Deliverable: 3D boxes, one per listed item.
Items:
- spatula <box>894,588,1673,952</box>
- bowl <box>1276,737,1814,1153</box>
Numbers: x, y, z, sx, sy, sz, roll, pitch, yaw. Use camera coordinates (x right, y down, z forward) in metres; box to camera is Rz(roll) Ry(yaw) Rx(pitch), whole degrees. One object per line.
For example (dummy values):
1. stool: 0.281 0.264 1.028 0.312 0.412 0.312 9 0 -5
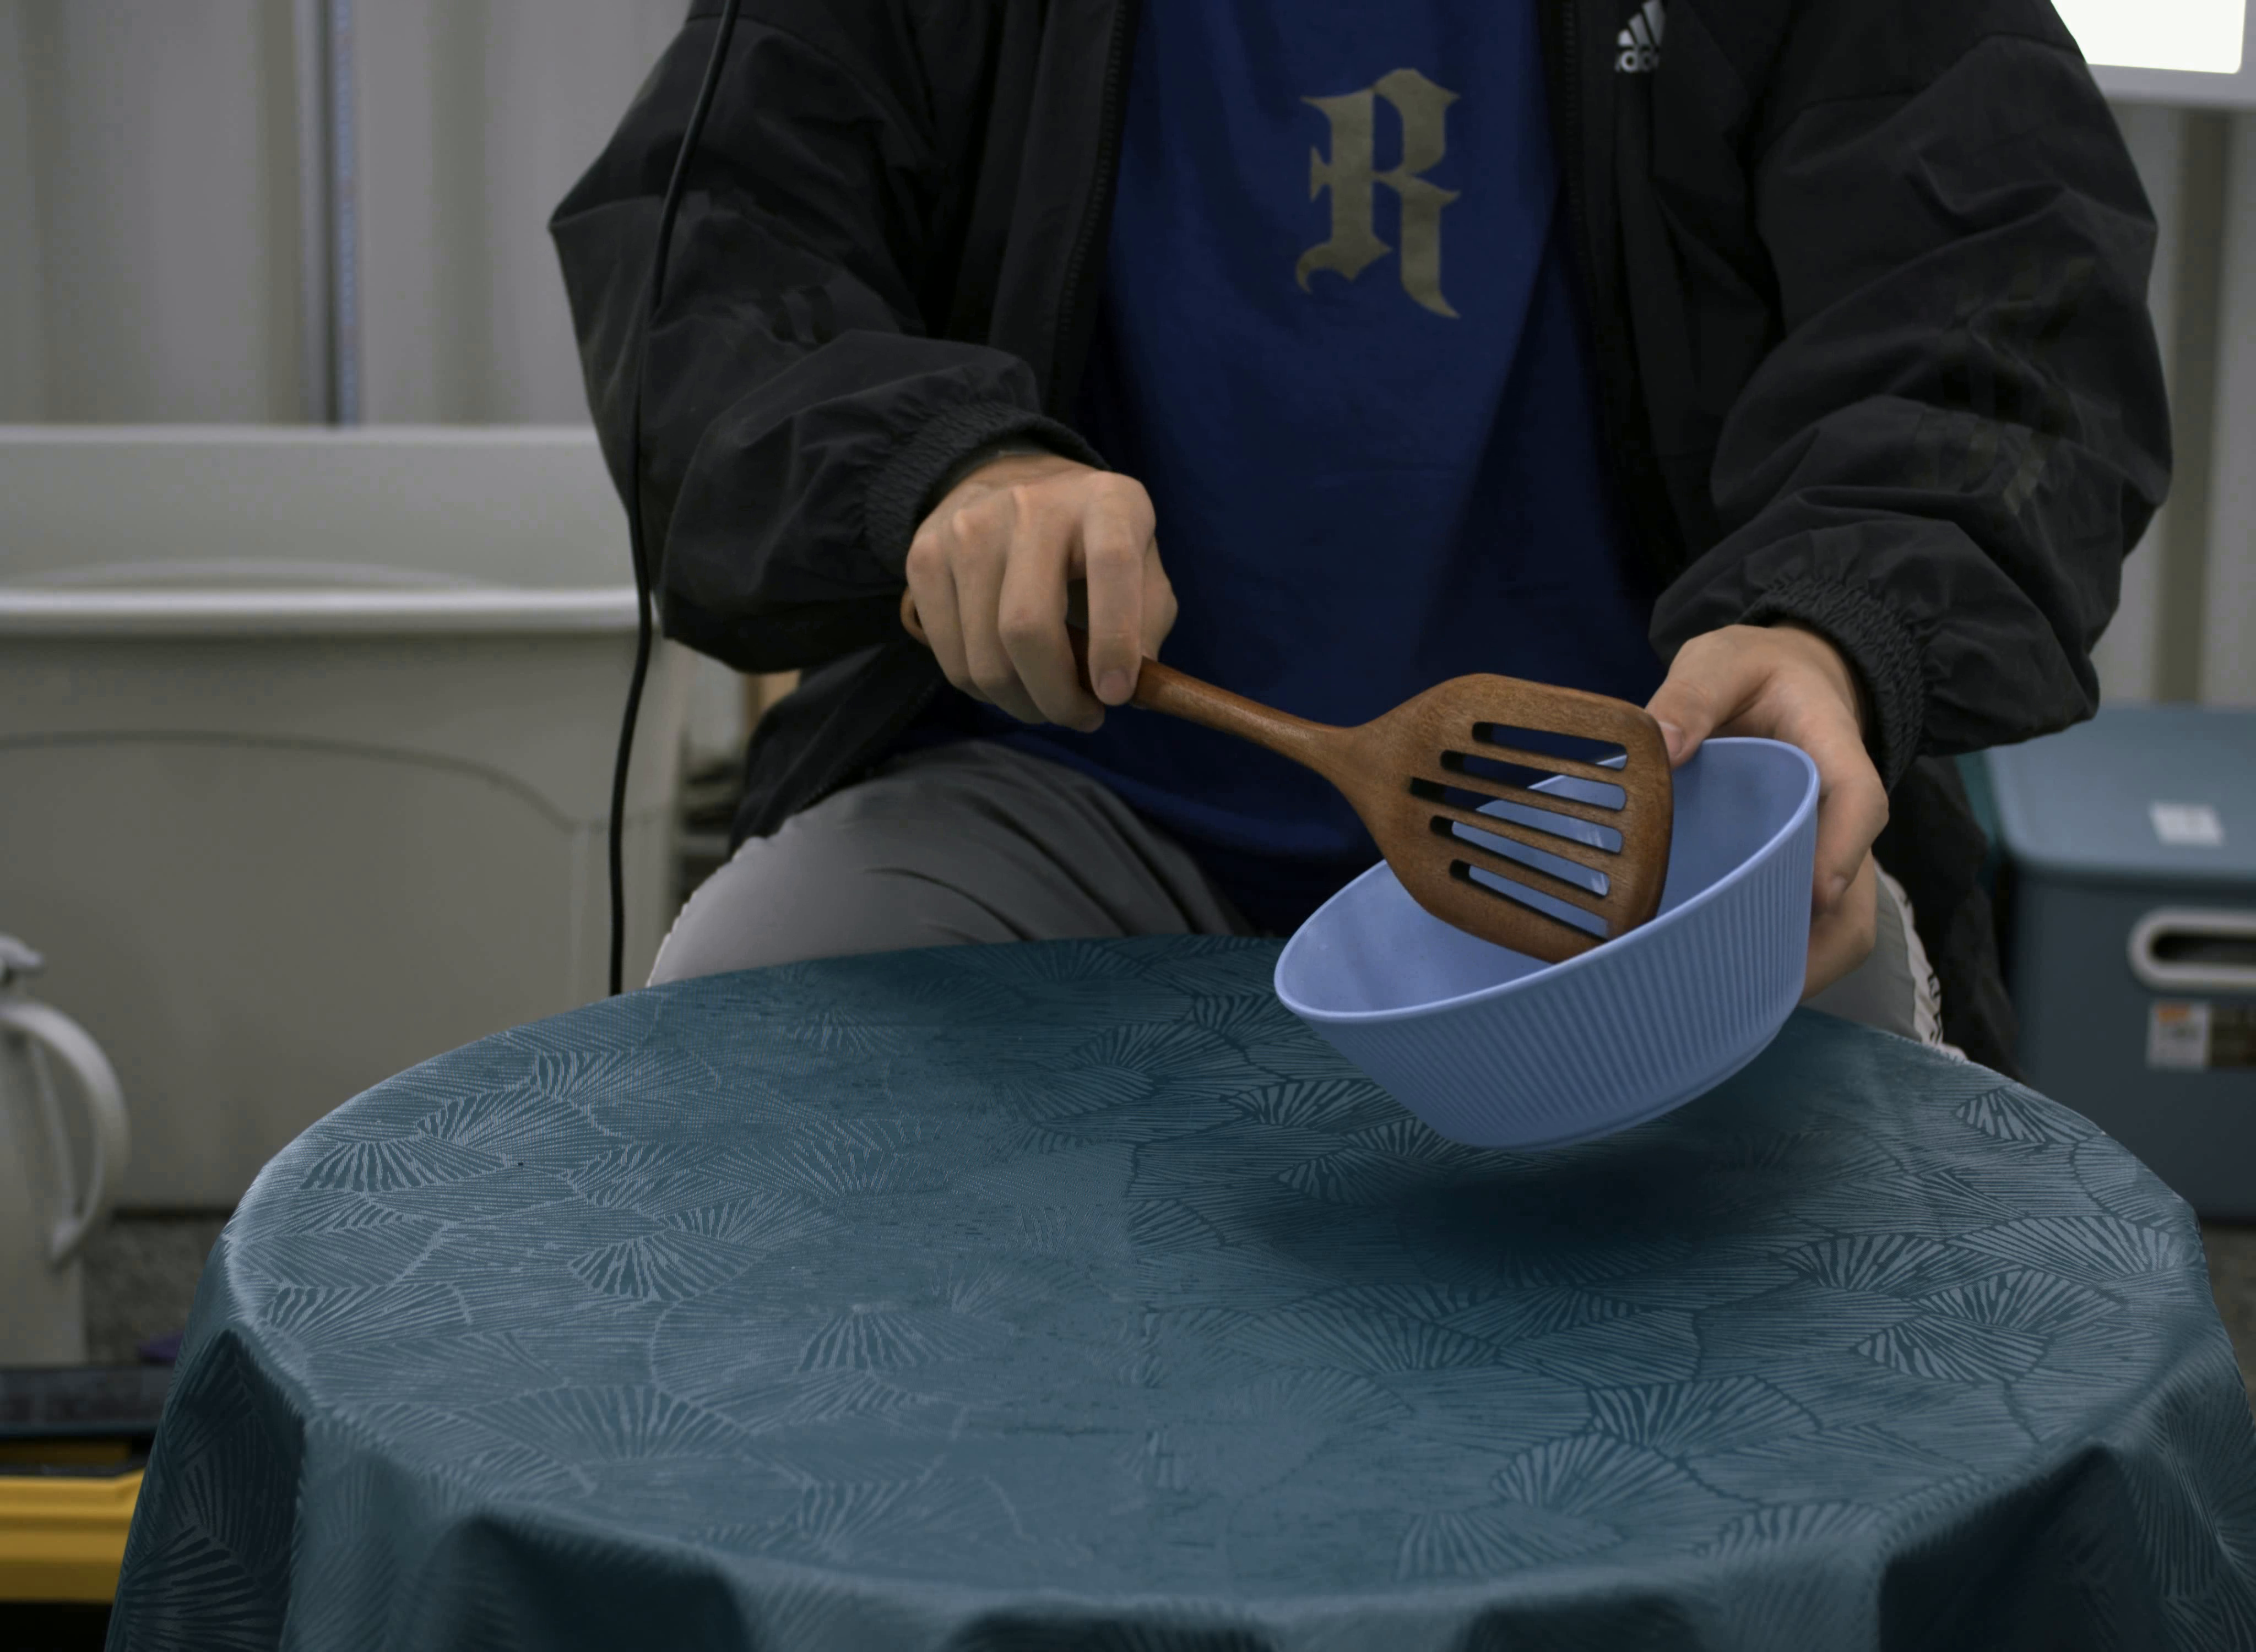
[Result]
1. spatula: 0.036 -0.036 1.692 0.024 0.086 0.381 1 11 -38
2. bowl: 0.137 0.042 1.592 0.175 0.071 0.175 -22 15 7
